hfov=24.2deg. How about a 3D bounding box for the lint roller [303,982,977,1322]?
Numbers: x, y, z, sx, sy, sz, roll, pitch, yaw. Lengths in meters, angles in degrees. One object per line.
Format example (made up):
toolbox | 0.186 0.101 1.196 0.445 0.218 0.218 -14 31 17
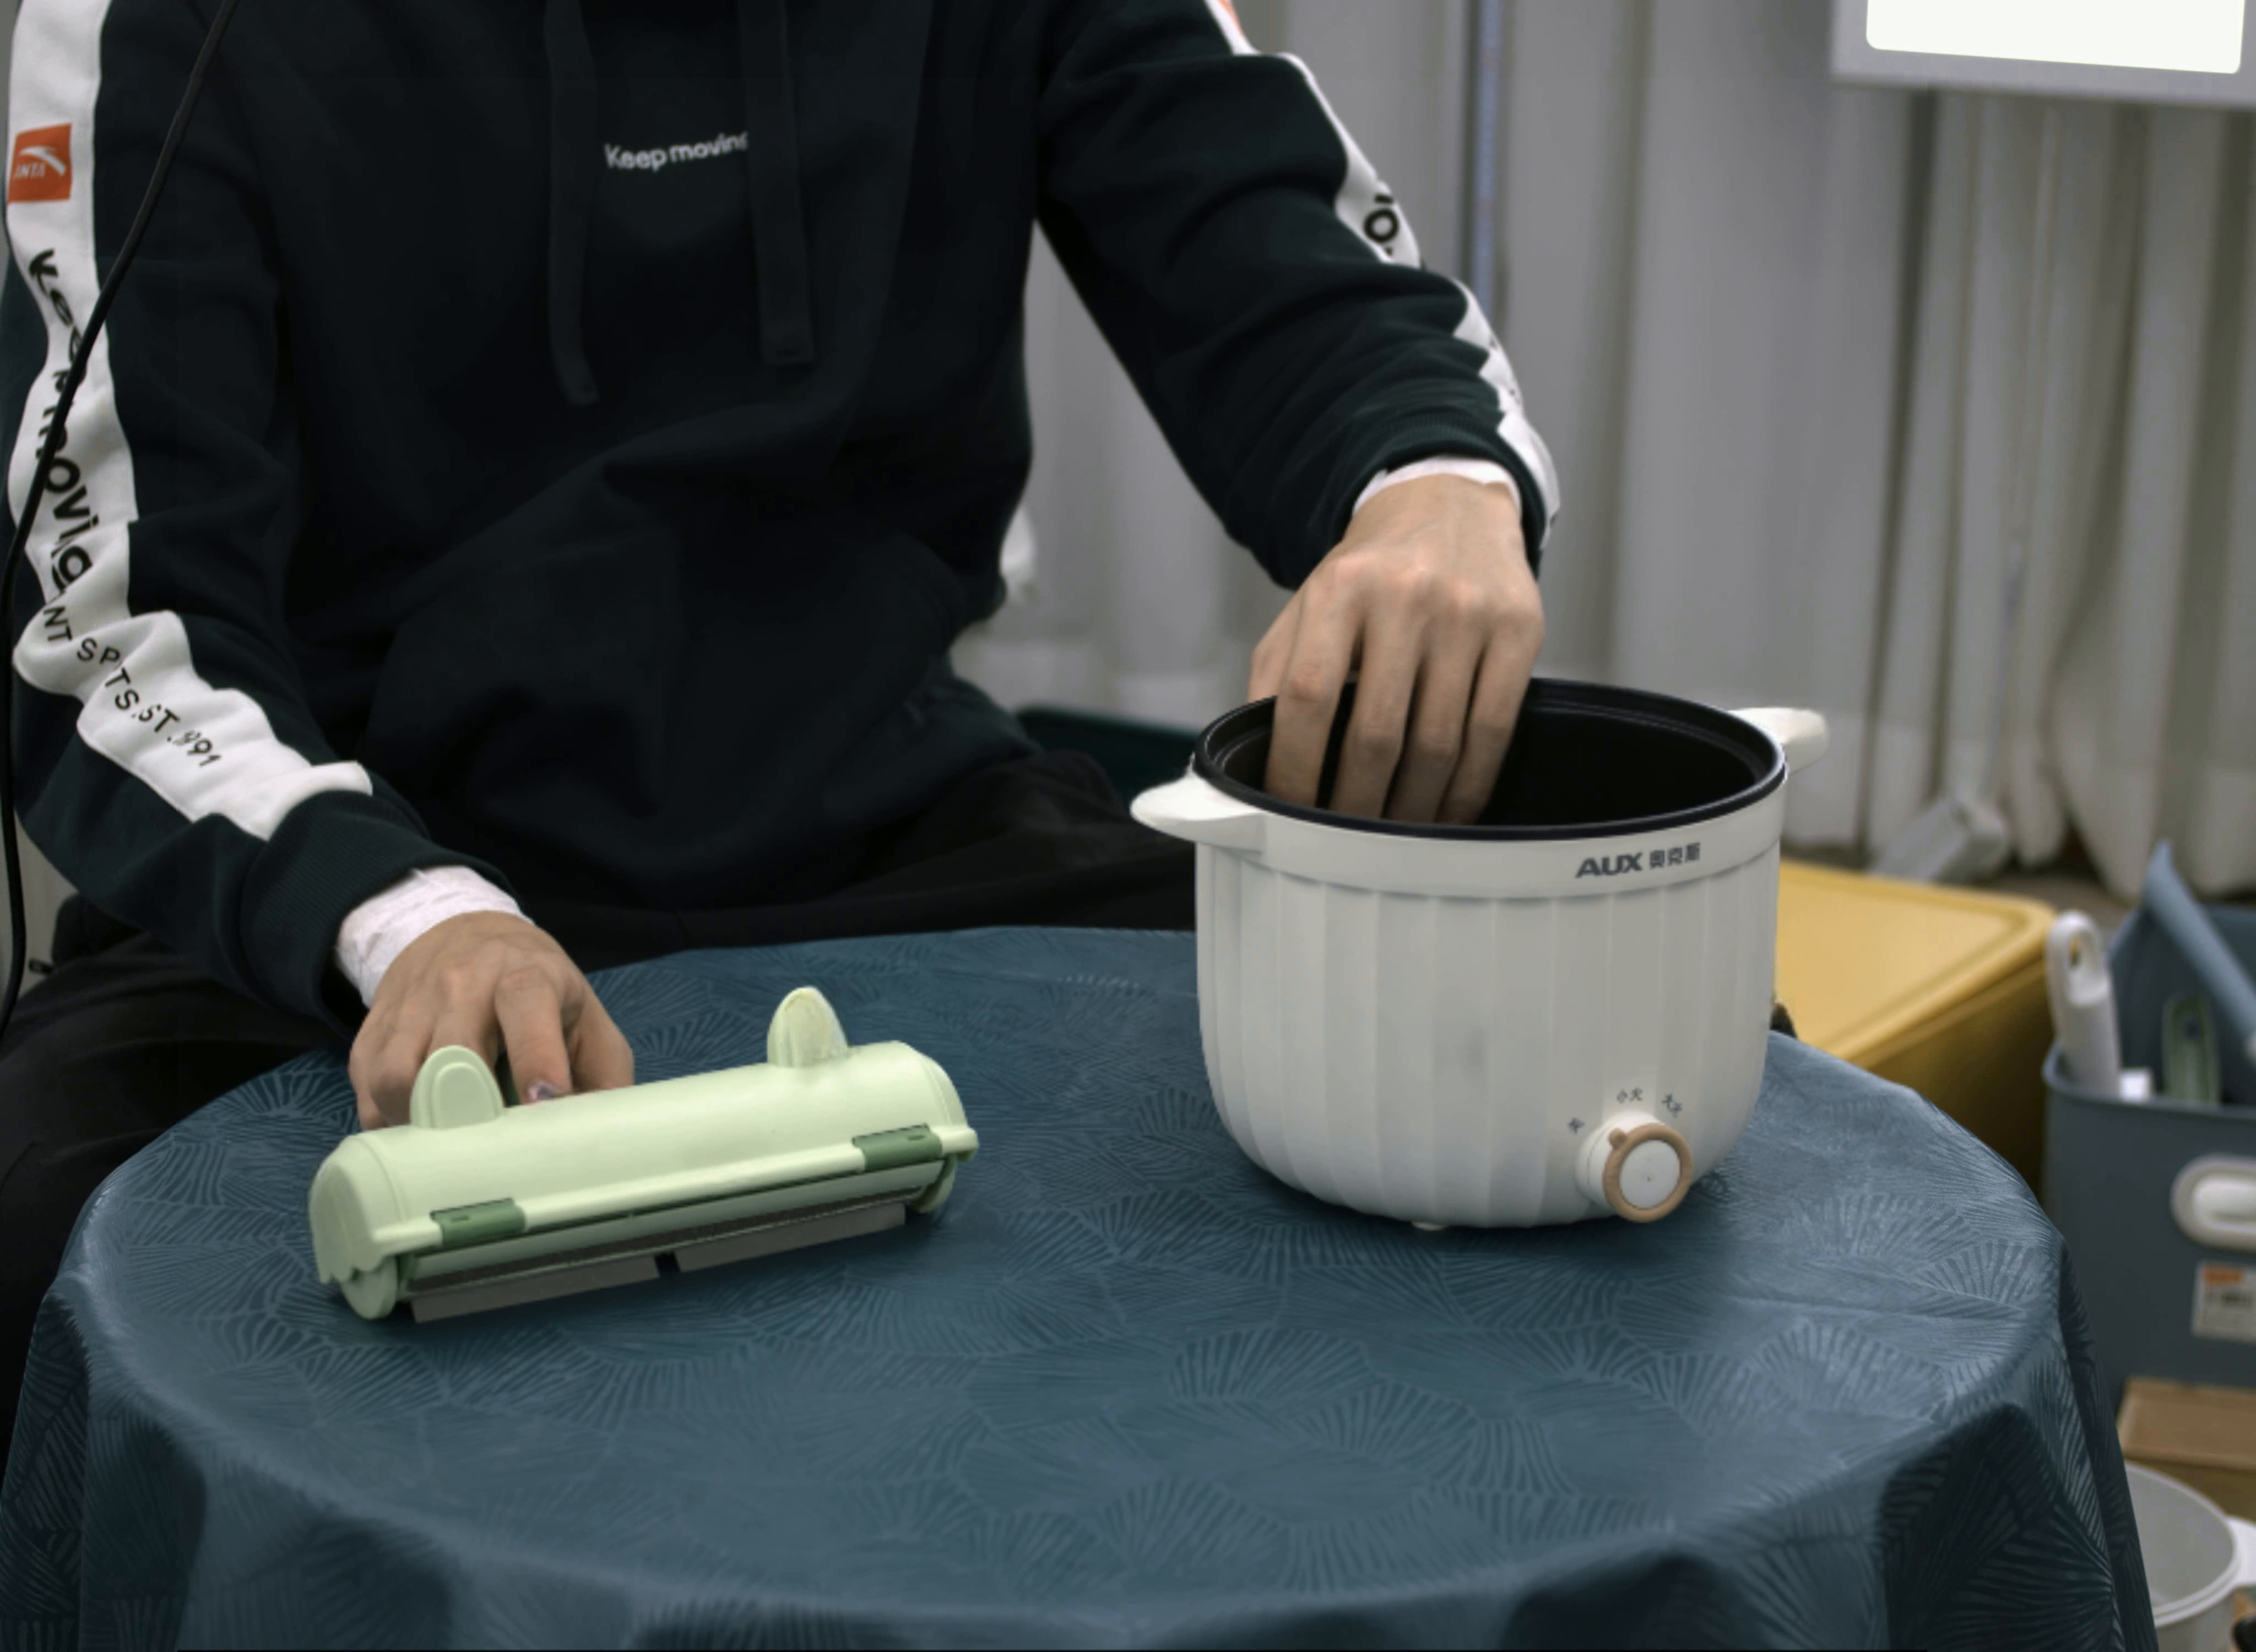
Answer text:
lint roller | -0.170 0.078 1.591 0.199 0.083 0.181 -9 24 -29

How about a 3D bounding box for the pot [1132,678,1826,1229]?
pot | 0.114 0.041 1.620 0.241 0.144 0.188 -9 15 -26
